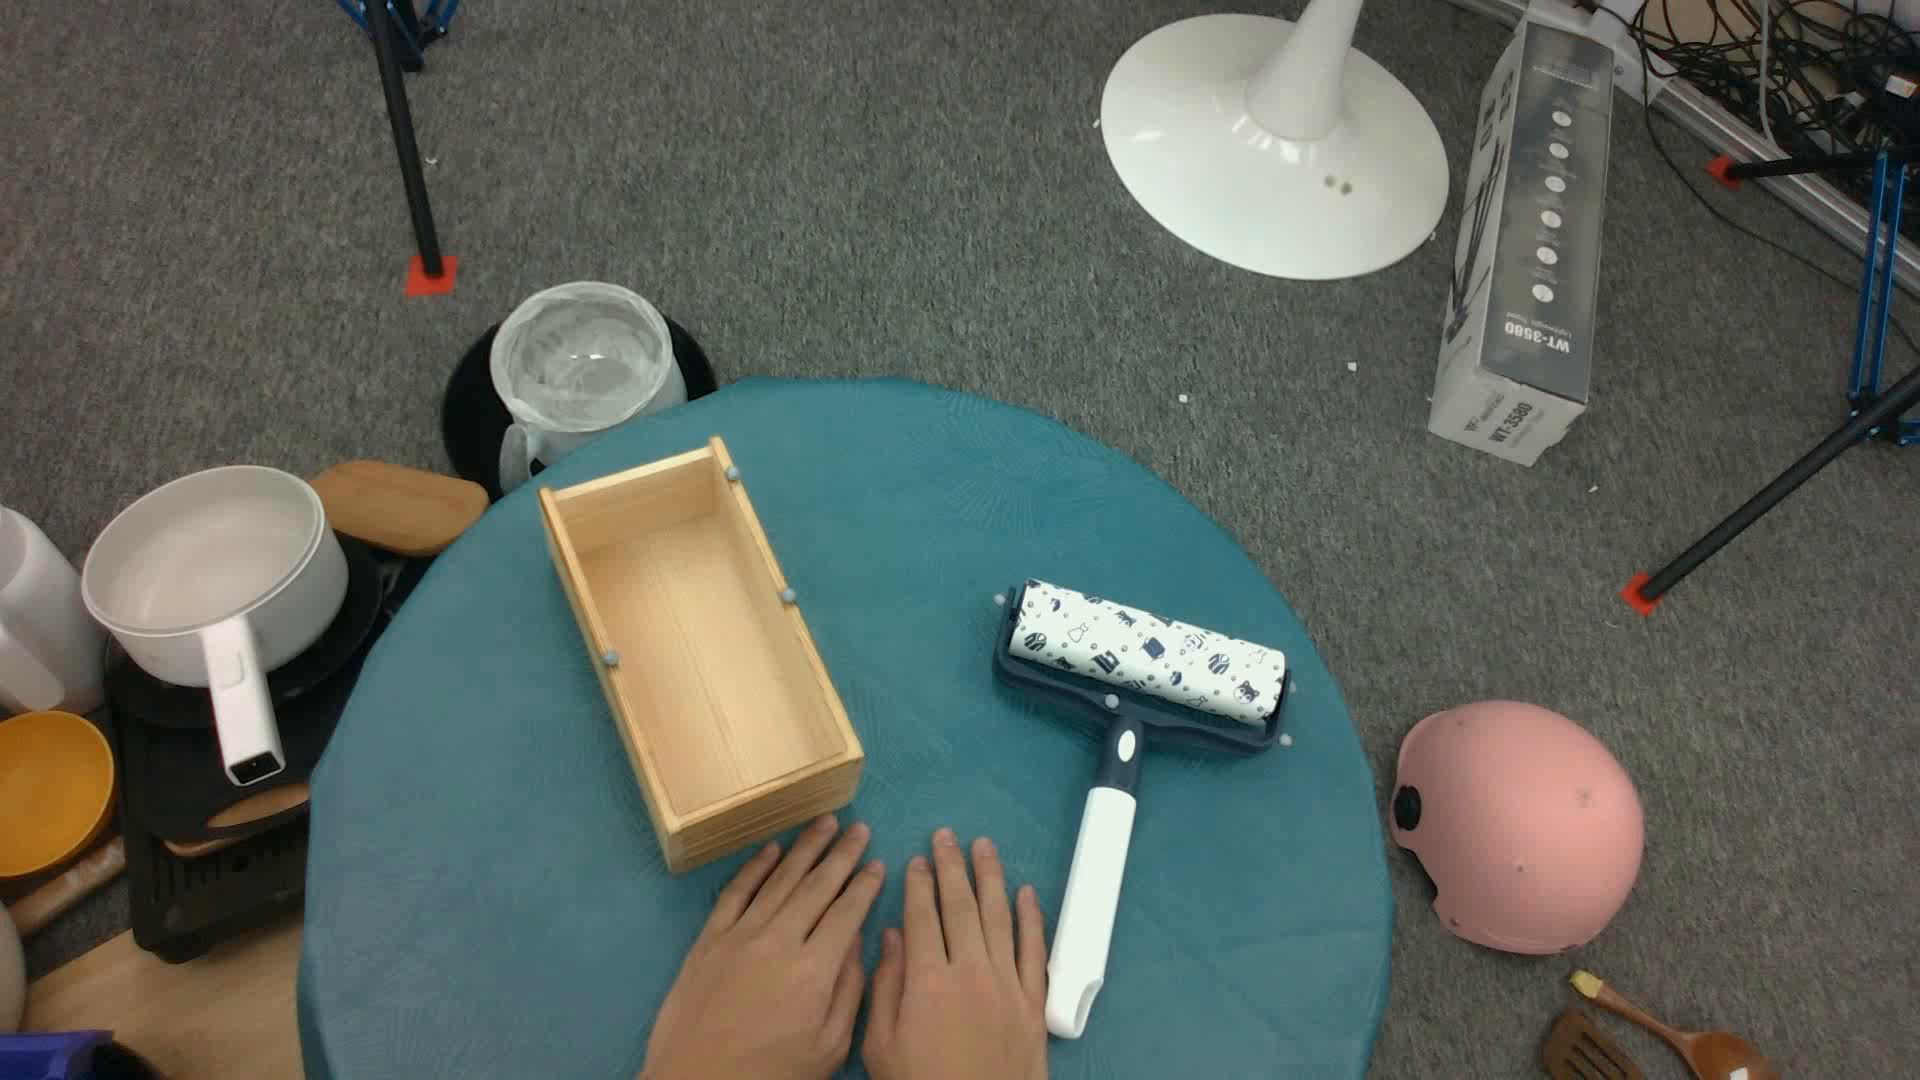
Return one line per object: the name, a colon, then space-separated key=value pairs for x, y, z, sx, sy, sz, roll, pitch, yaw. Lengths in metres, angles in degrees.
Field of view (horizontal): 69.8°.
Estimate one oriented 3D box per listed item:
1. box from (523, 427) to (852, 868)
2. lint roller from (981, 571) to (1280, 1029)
box: x=-0.153 y=0.056 z=0.762 sx=0.108 sy=0.080 sz=0.212 roll=-20 pitch=66 yaw=-20
lint roller: x=0.081 y=0.147 z=0.774 sx=0.176 sy=0.050 sz=0.248 roll=16 pitch=60 yaw=-2
